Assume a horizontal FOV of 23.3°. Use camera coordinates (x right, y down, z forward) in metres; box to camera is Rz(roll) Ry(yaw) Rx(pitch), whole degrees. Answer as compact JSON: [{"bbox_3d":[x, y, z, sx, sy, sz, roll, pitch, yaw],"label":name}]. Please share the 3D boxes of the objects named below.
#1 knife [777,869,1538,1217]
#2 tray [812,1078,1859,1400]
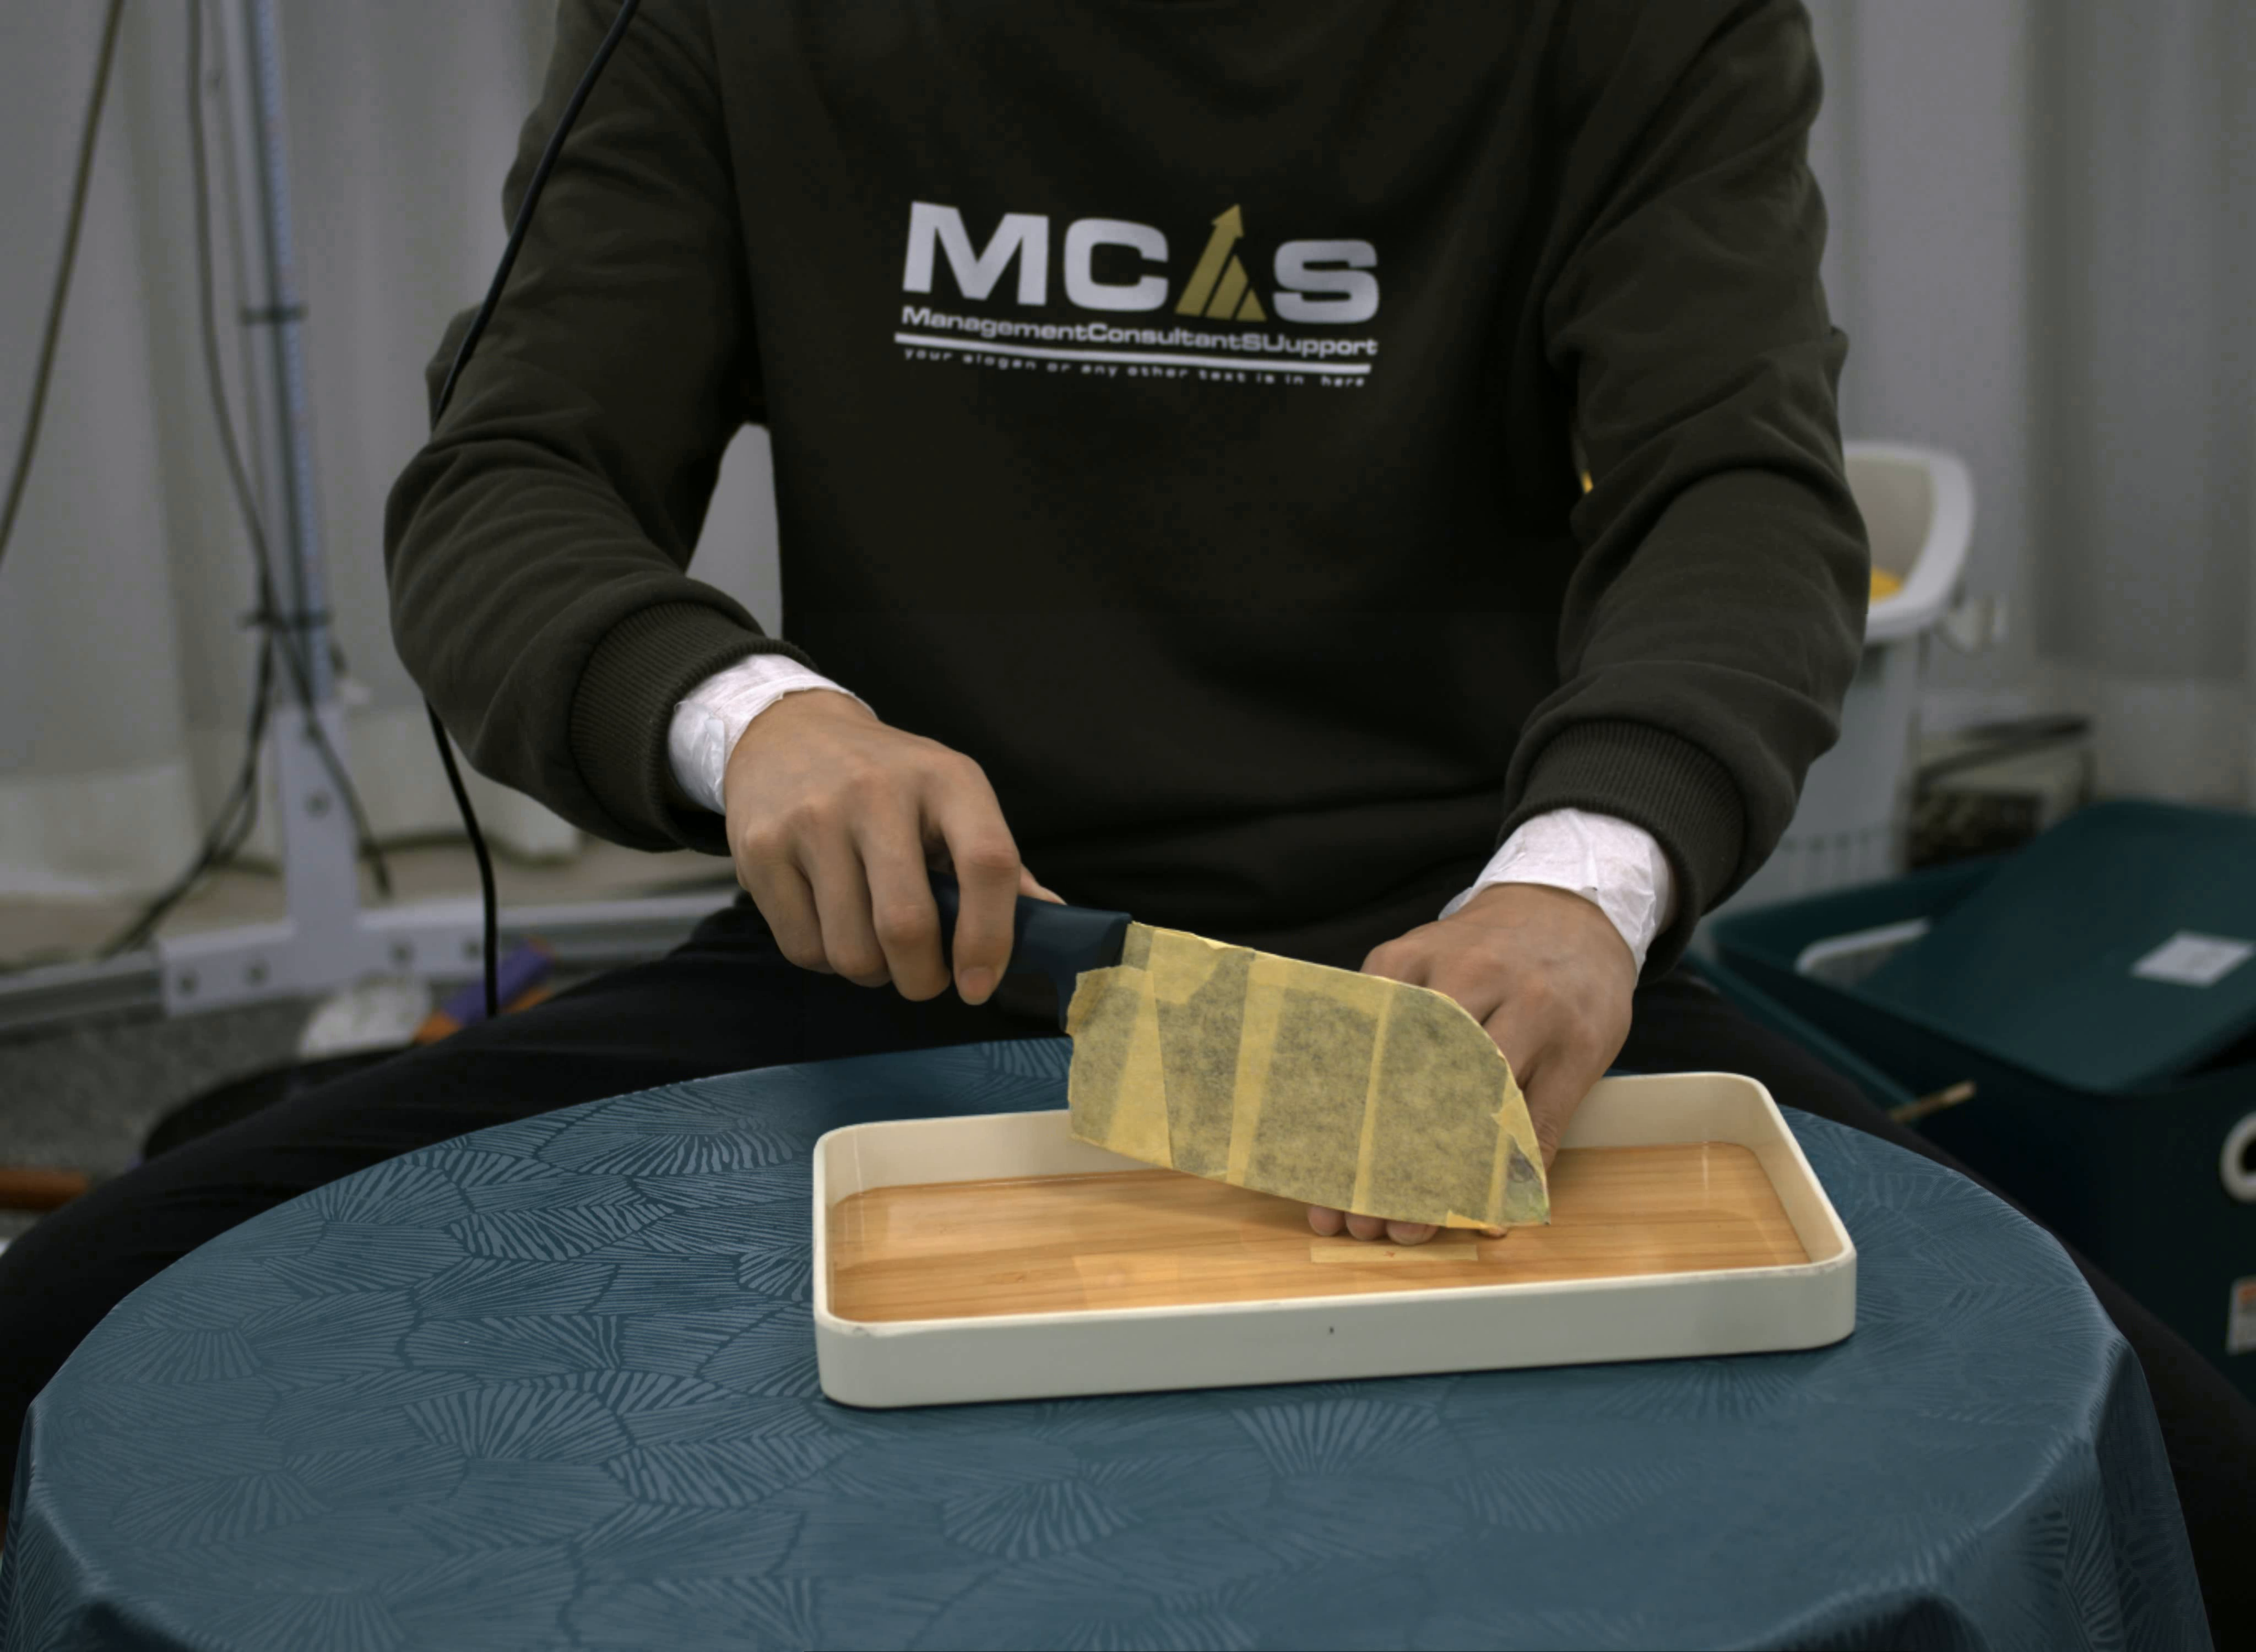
[{"bbox_3d":[0.005,0.064,1.680,0.291,0.081,0.027,16,7,34],"label":"knife"},{"bbox_3d":[0.056,0.121,1.631,0.299,0.027,0.193,-3,14,-2],"label":"tray"}]
